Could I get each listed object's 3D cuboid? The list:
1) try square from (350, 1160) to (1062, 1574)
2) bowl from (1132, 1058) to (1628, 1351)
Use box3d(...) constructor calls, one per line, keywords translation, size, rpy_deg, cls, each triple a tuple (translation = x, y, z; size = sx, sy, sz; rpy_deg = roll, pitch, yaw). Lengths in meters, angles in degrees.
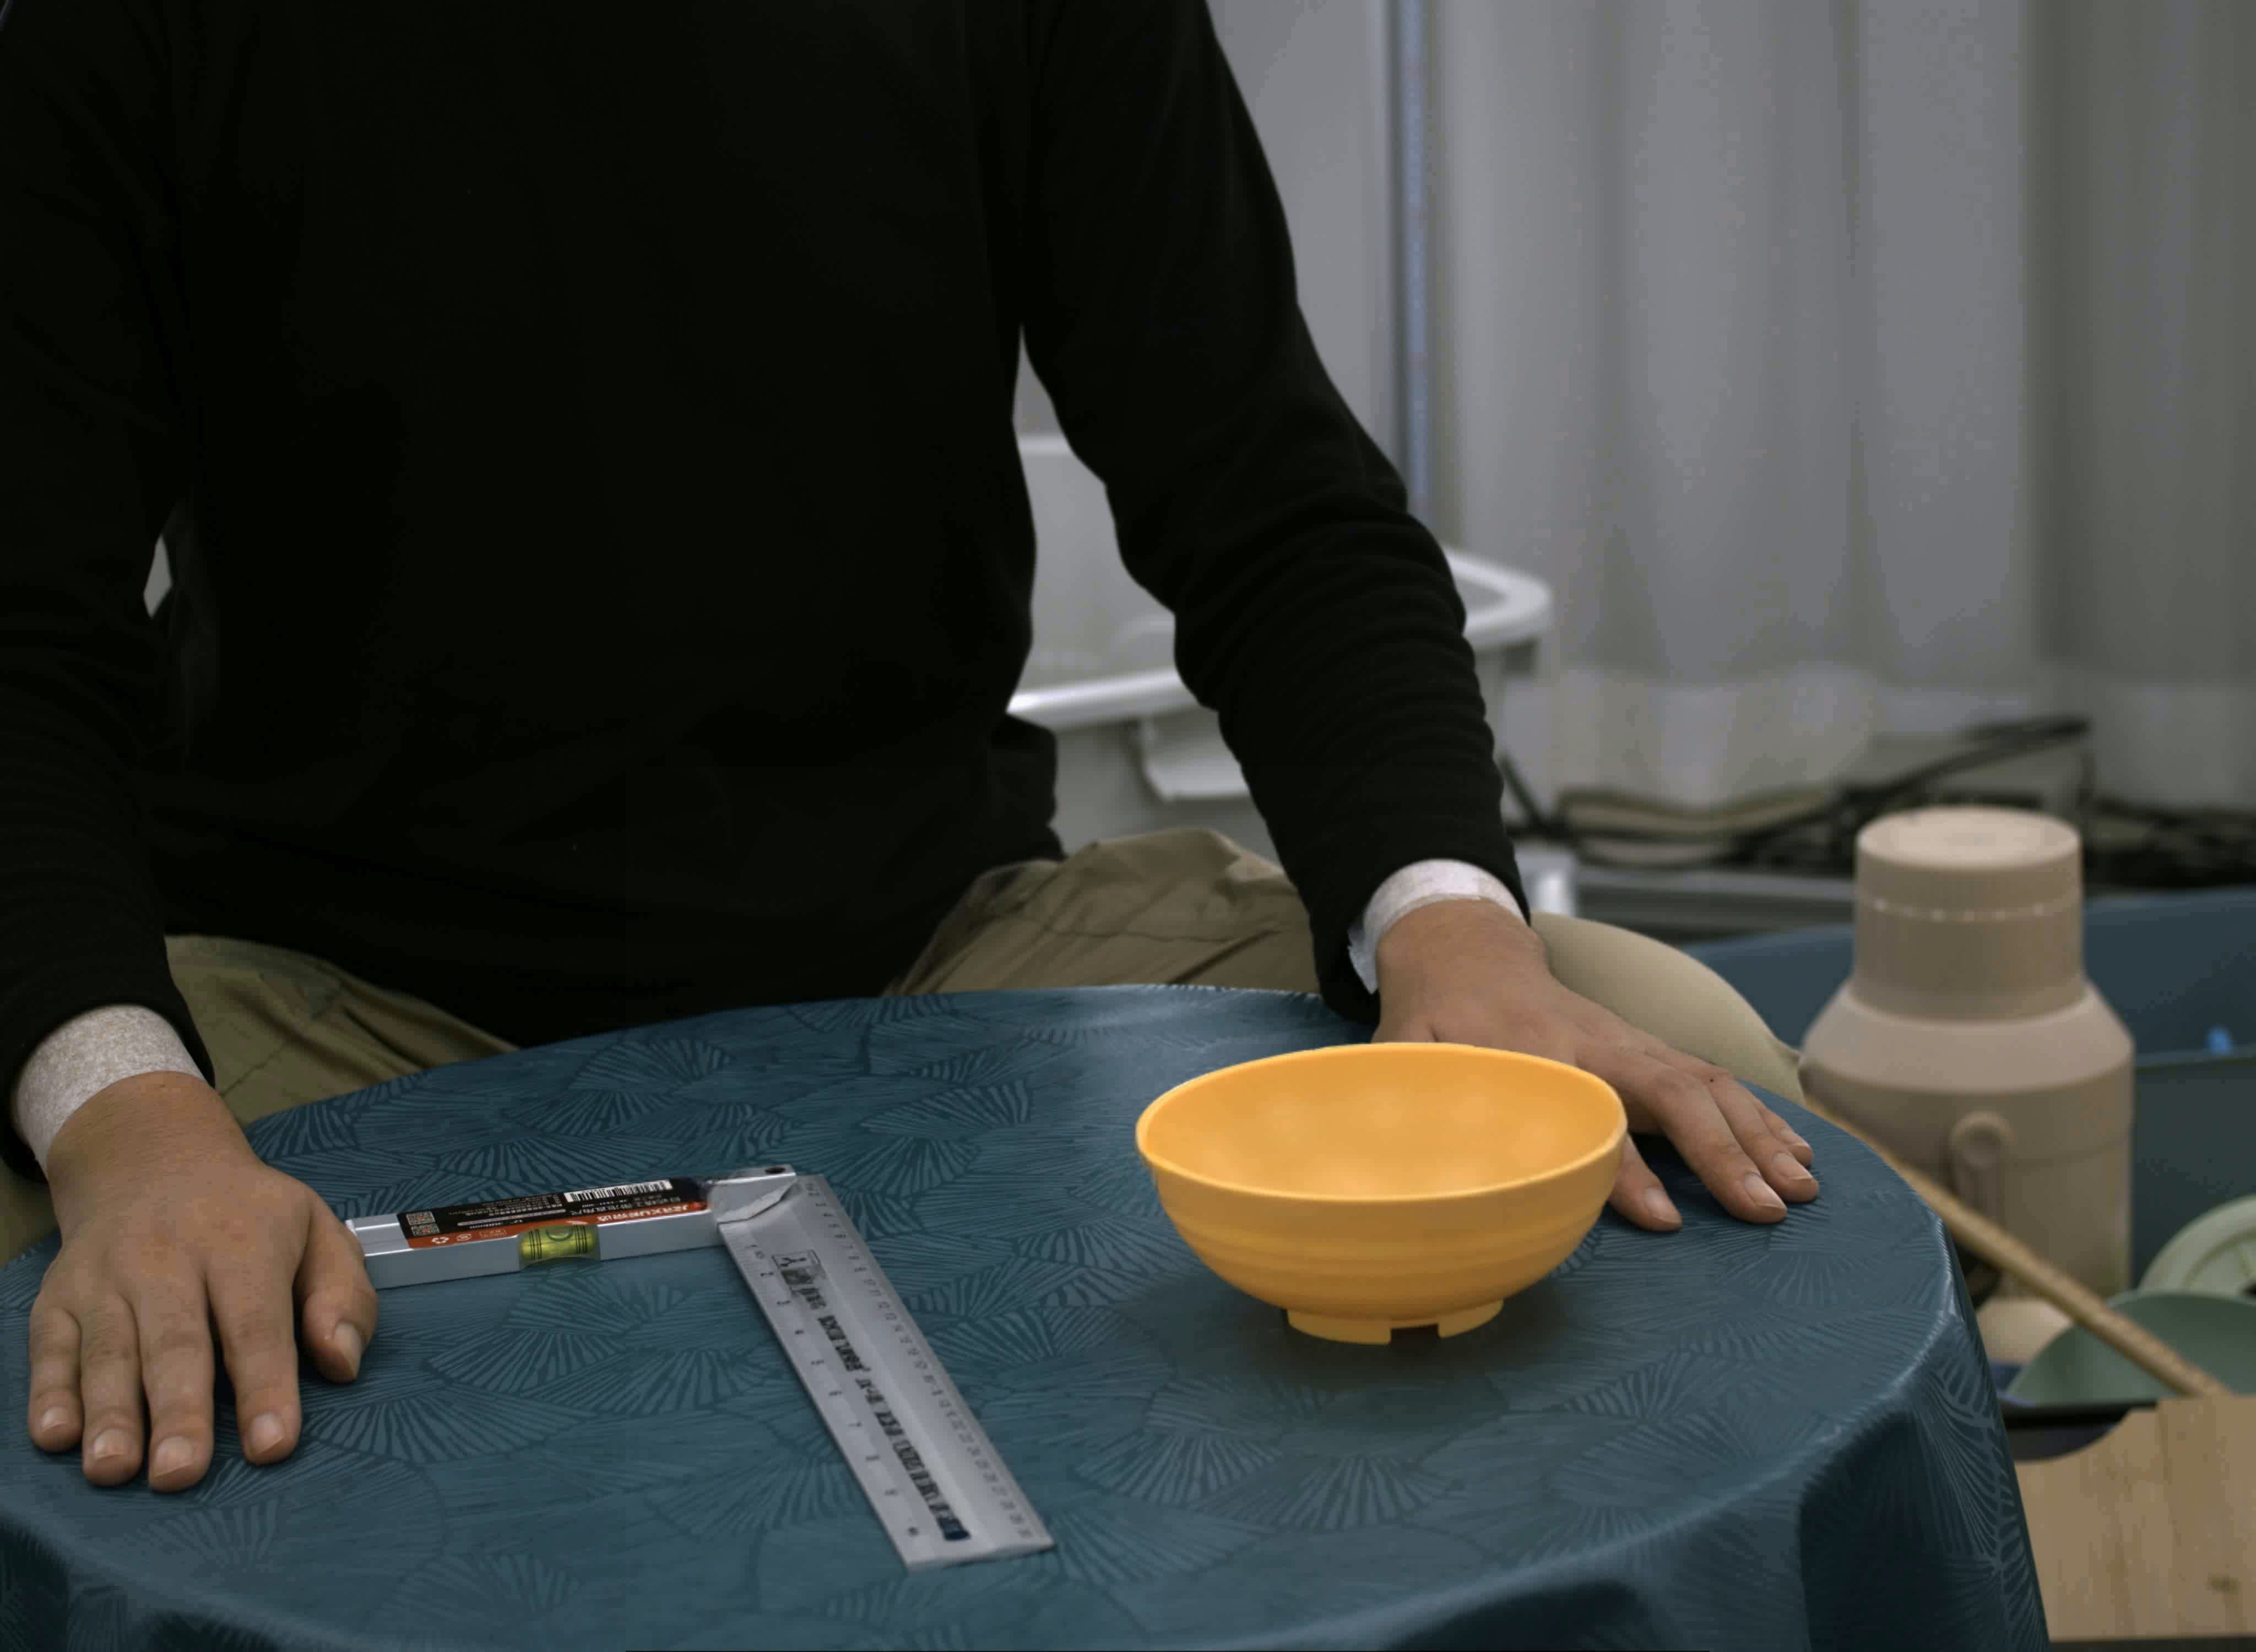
box3d(translation=(-0.129, 0.160, 1.563), size=(0.151, 0.016, 0.315), rpy_deg=(-10, 17, -12), cls="try square")
box3d(translation=(0.073, 0.115, 1.594), size=(0.145, 0.060, 0.146), rpy_deg=(-1, 12, 0), cls="bowl")
